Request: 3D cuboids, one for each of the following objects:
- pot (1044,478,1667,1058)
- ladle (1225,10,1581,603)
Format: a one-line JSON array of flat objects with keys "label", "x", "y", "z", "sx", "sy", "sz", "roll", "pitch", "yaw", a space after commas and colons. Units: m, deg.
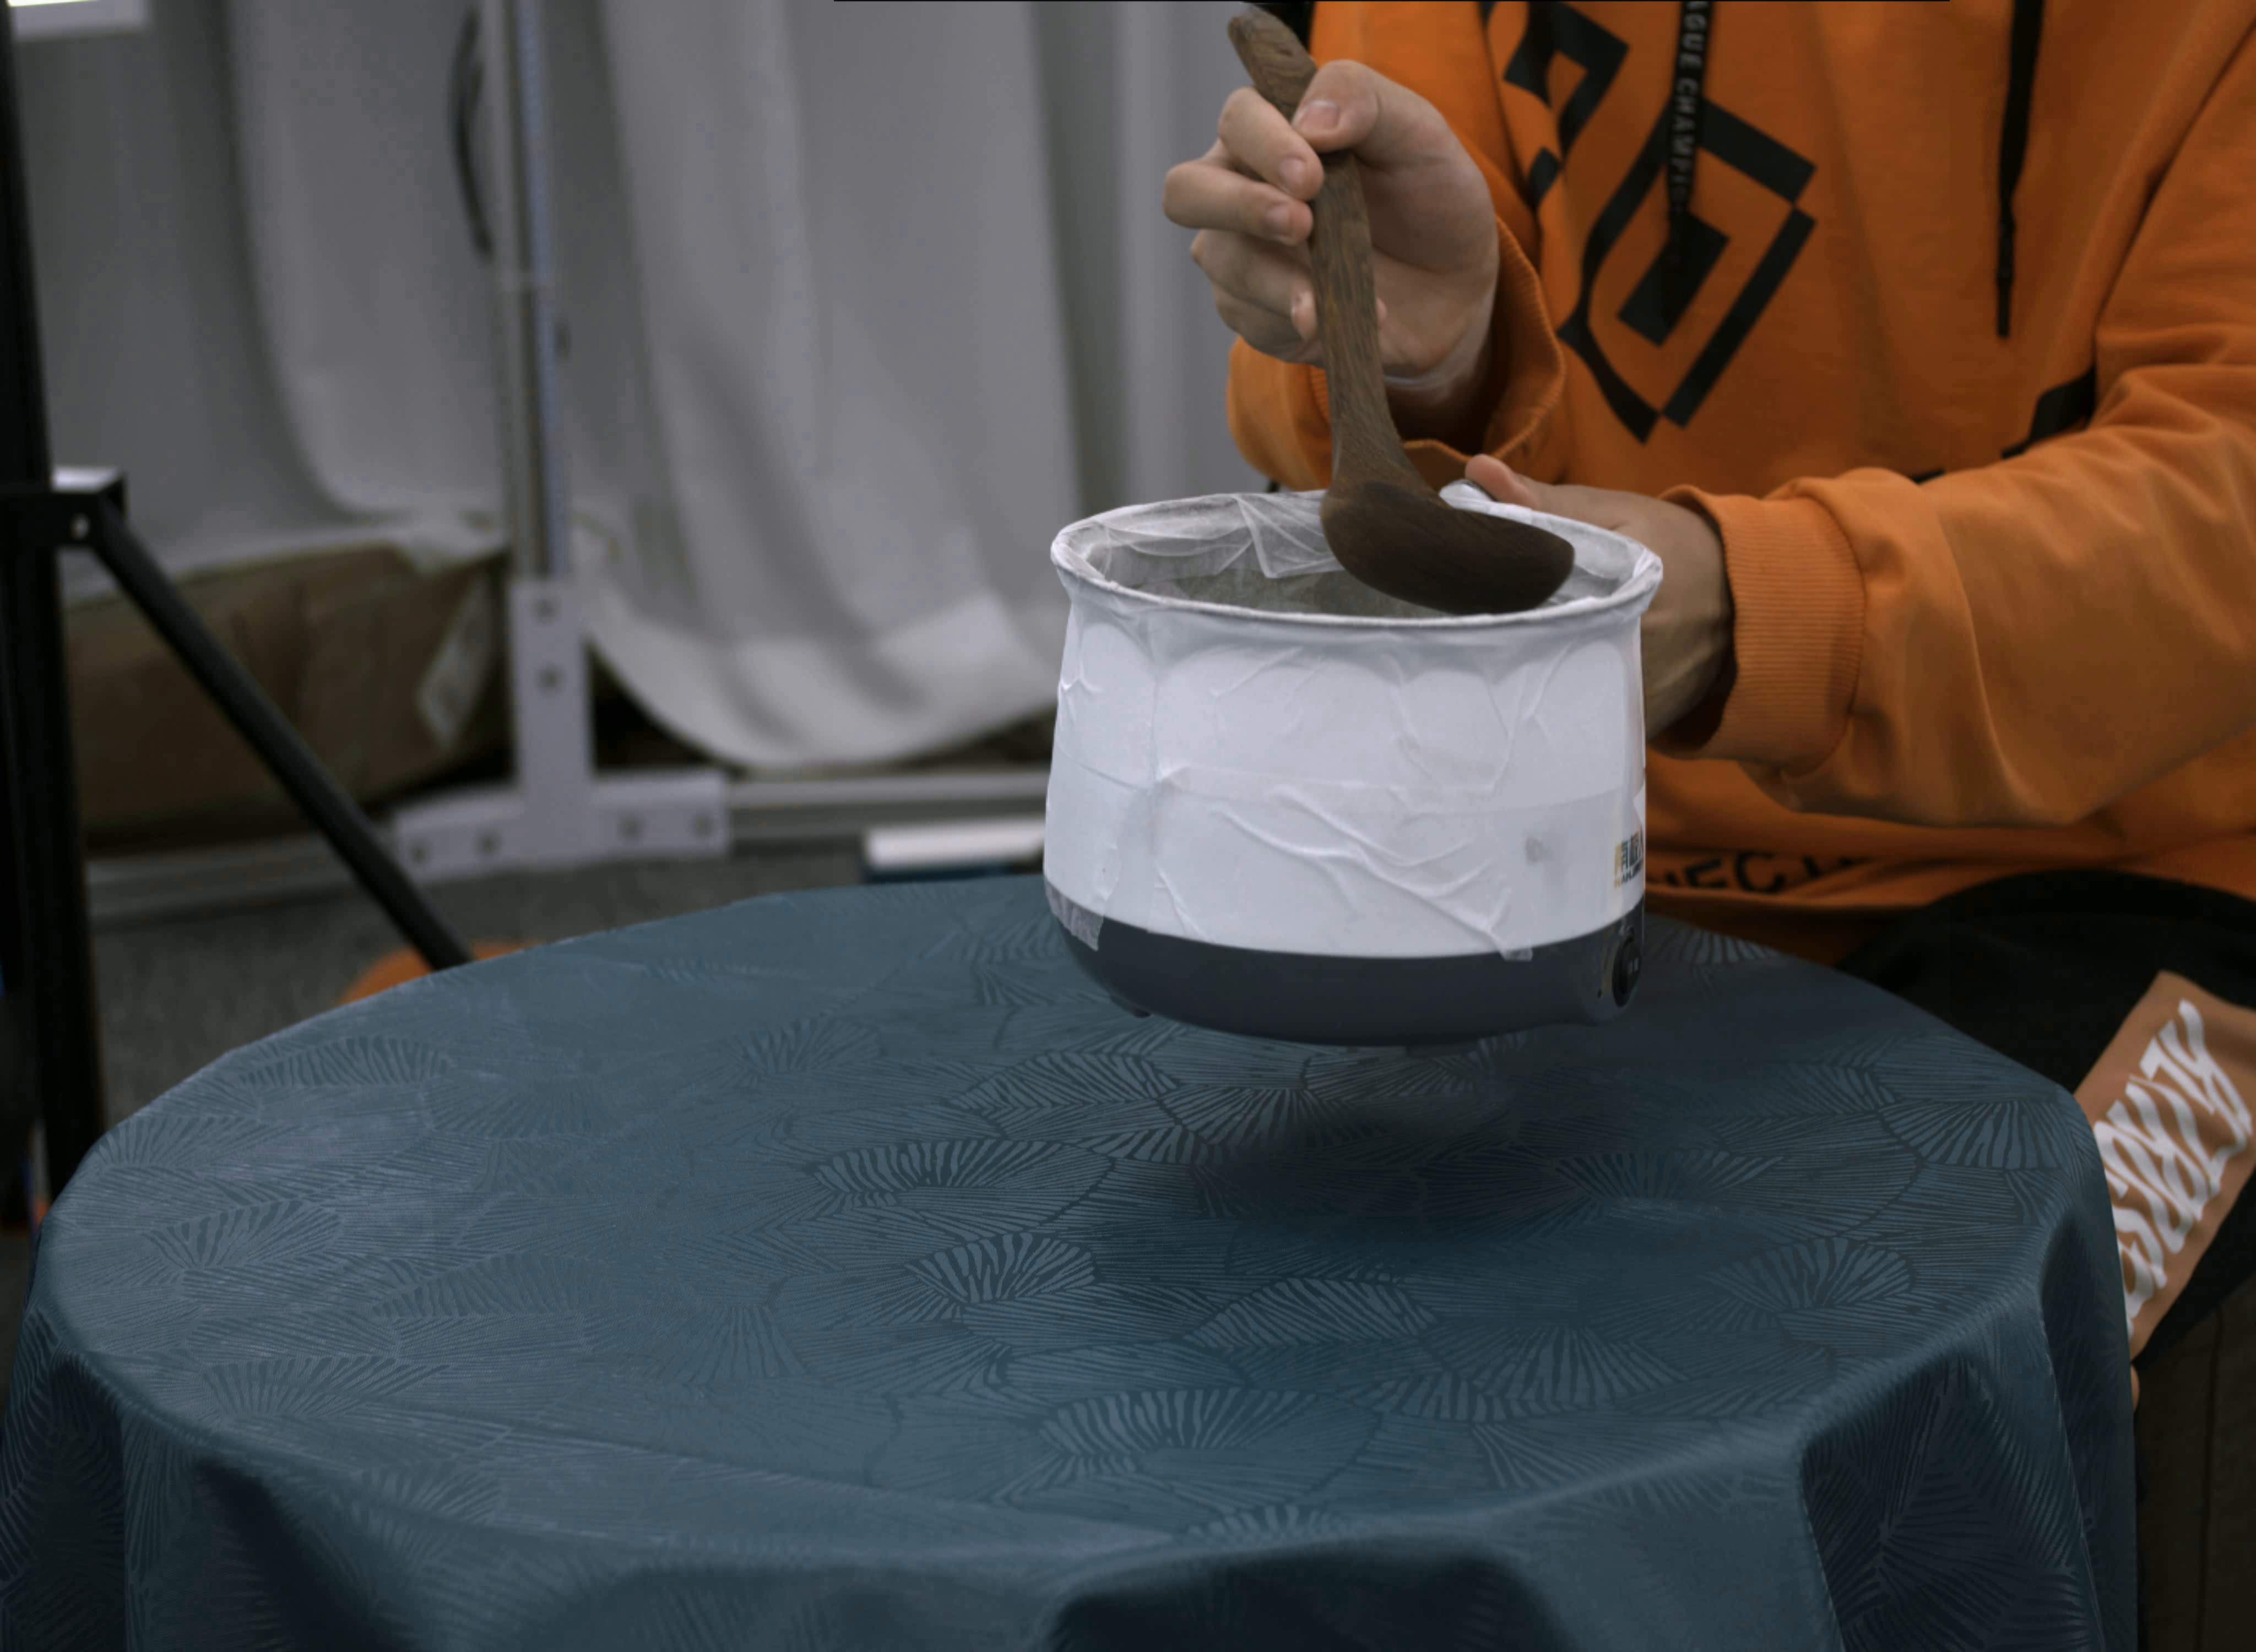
[{"label": "pot", "x": 0.074, "y": -0.024, "z": 1.571, "sx": 0.181, "sy": 0.137, "sz": 0.230, "roll": 7, "pitch": 15, "yaw": 20}, {"label": "ladle", "x": 0.077, "y": -0.167, "z": 1.595, "sx": 0.074, "sy": 0.072, "sz": 0.278, "roll": 18, "pitch": 44, "yaw": -30}]
